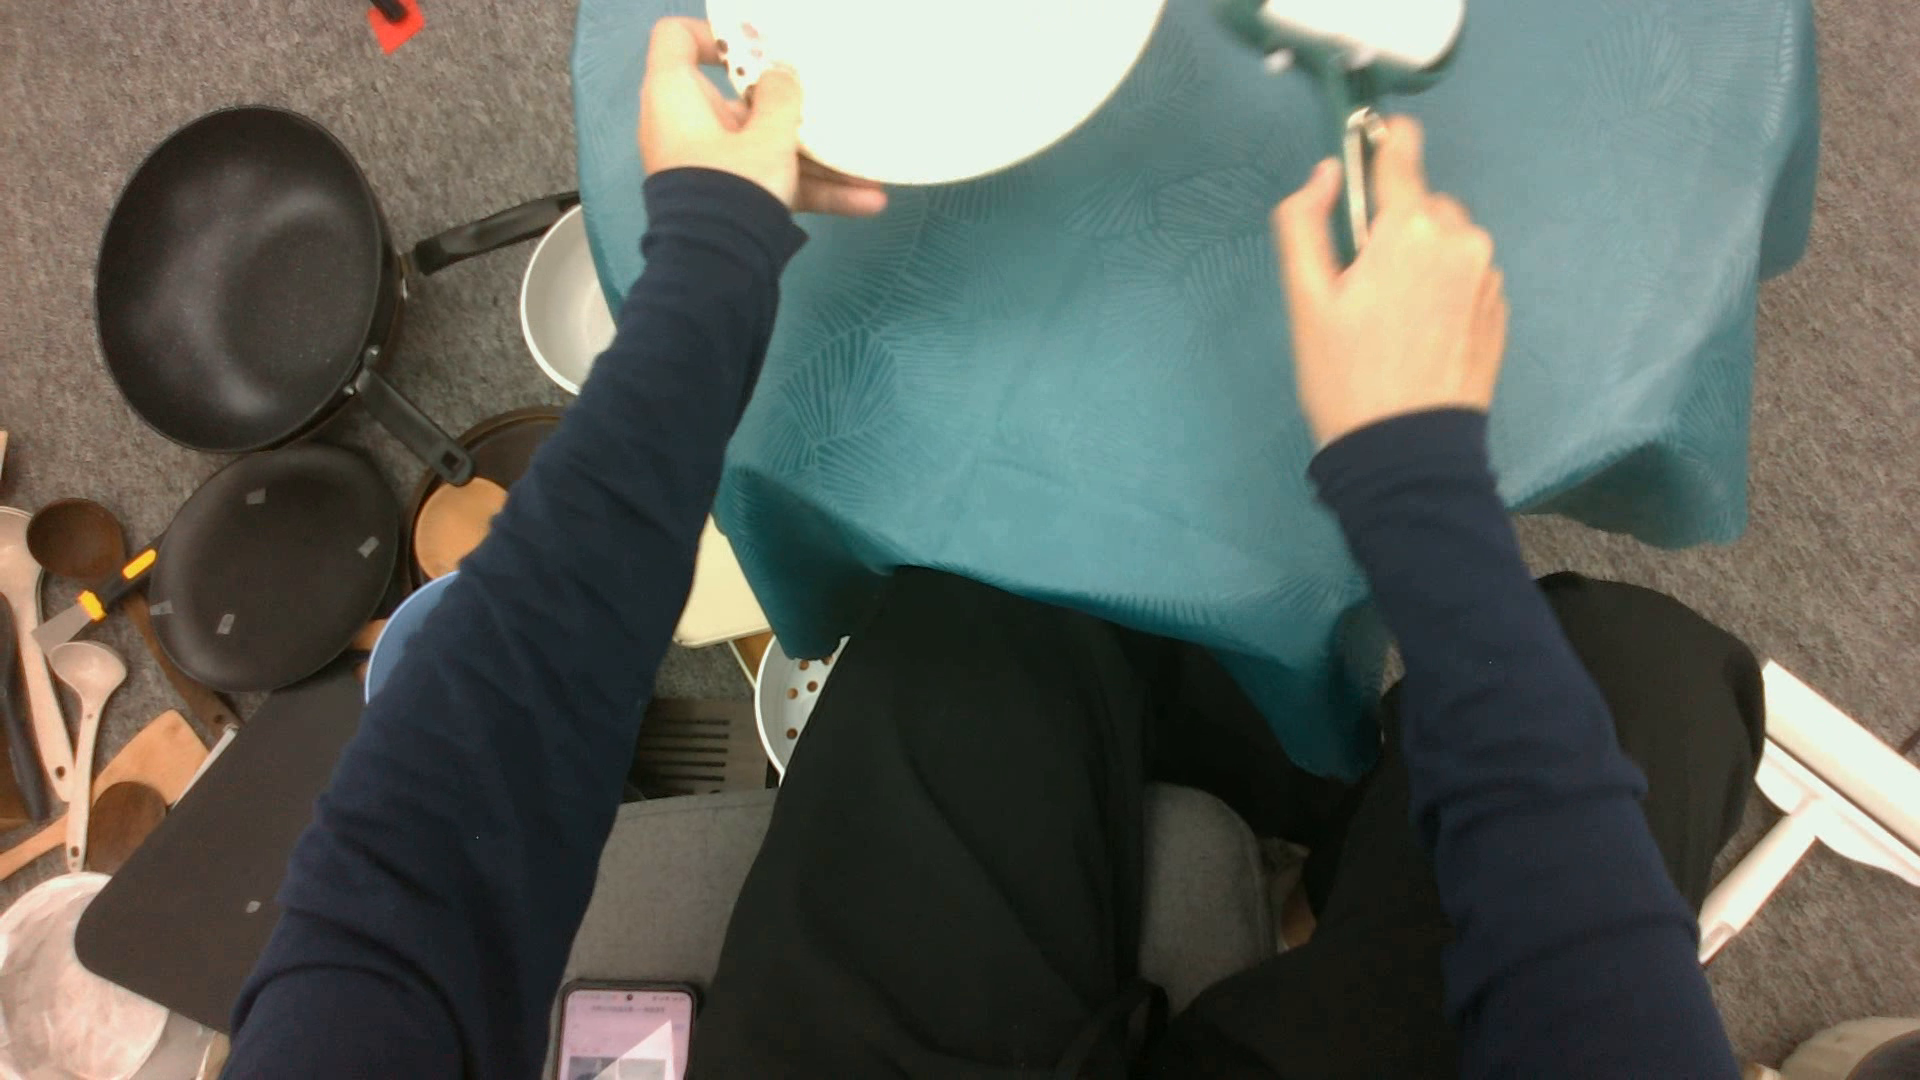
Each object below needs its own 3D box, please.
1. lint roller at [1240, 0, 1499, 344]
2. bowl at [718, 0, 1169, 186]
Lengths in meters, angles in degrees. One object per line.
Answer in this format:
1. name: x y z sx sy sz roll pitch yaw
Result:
1. lint roller: 0.177 -0.173 0.572 0.134 0.048 0.180 4 74 -27
2. bowl: -0.003 -0.245 0.635 0.204 0.078 0.204 -1 80 9
